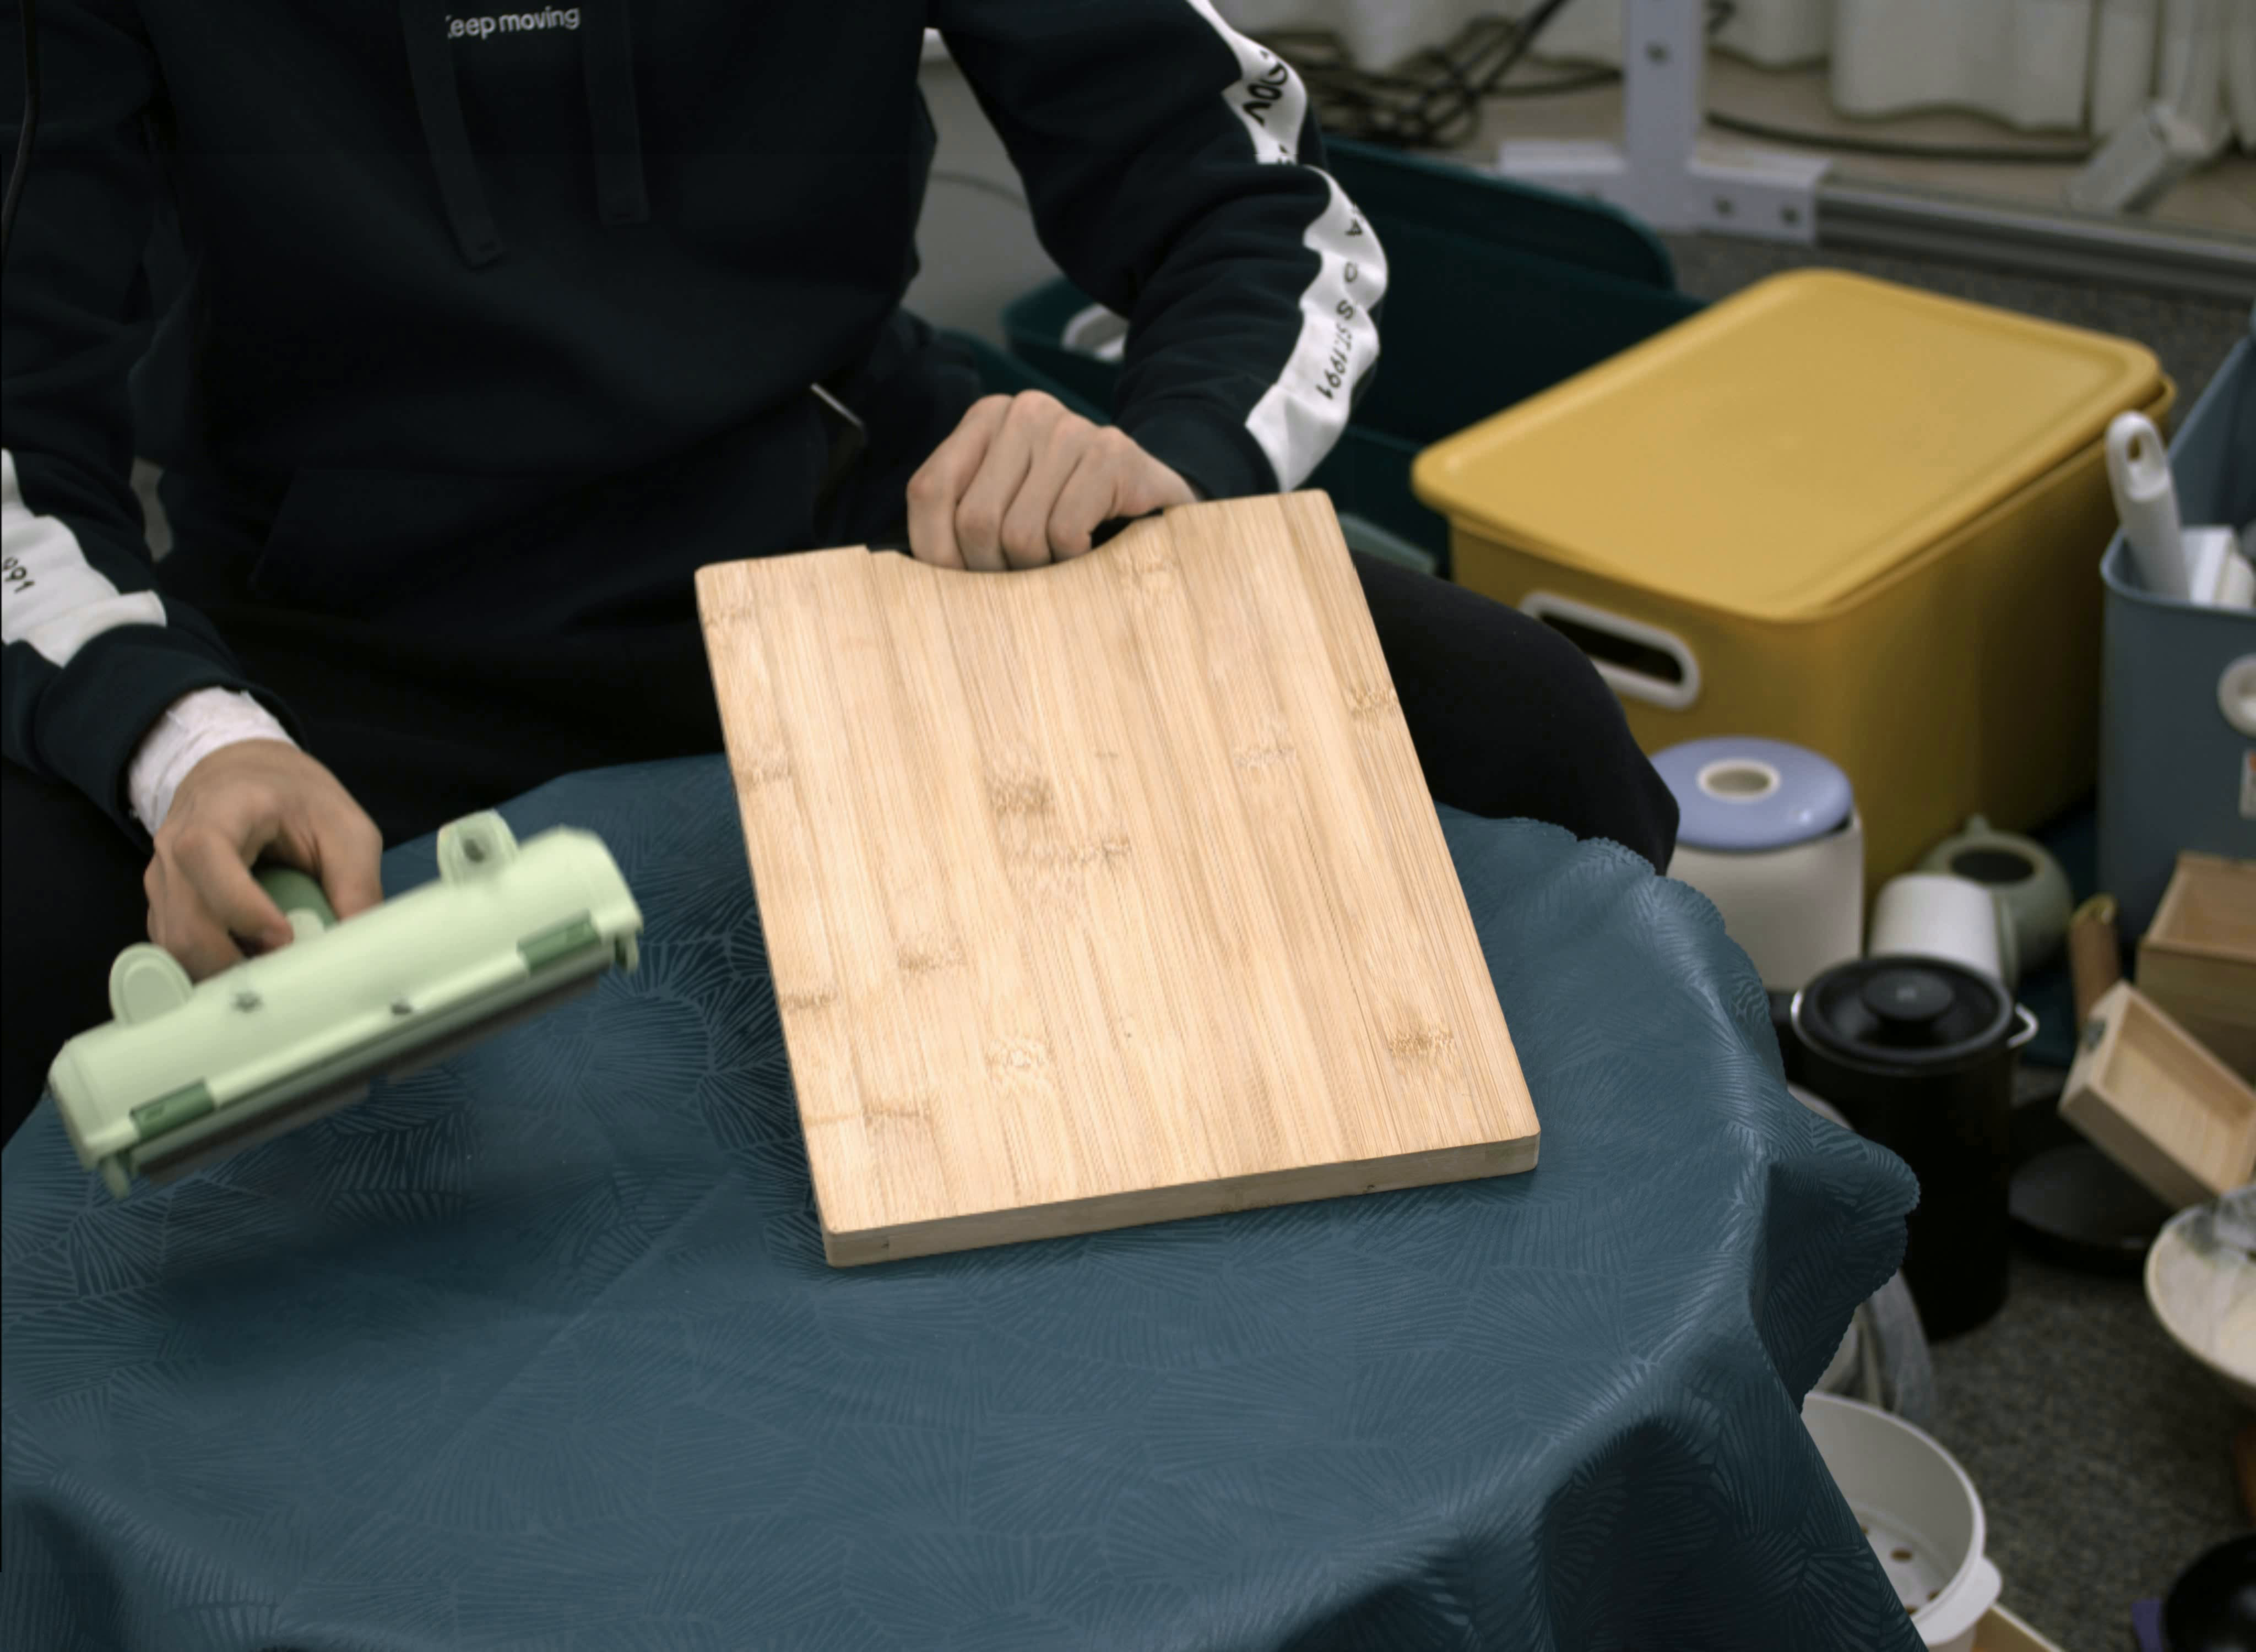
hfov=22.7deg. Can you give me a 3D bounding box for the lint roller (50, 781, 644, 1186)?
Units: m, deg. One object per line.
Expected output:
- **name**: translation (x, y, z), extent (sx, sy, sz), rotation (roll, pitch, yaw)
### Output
- **lint roller**: translation (-0.278, 0.027, 1.878), extent (0.199, 0.081, 0.184), rotation (-25, 32, -15)

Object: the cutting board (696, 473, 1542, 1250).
- **cutting board**: translation (-0.011, 0.006, 1.967), extent (0.250, 0.023, 0.354), rotation (-7, 43, -9)
